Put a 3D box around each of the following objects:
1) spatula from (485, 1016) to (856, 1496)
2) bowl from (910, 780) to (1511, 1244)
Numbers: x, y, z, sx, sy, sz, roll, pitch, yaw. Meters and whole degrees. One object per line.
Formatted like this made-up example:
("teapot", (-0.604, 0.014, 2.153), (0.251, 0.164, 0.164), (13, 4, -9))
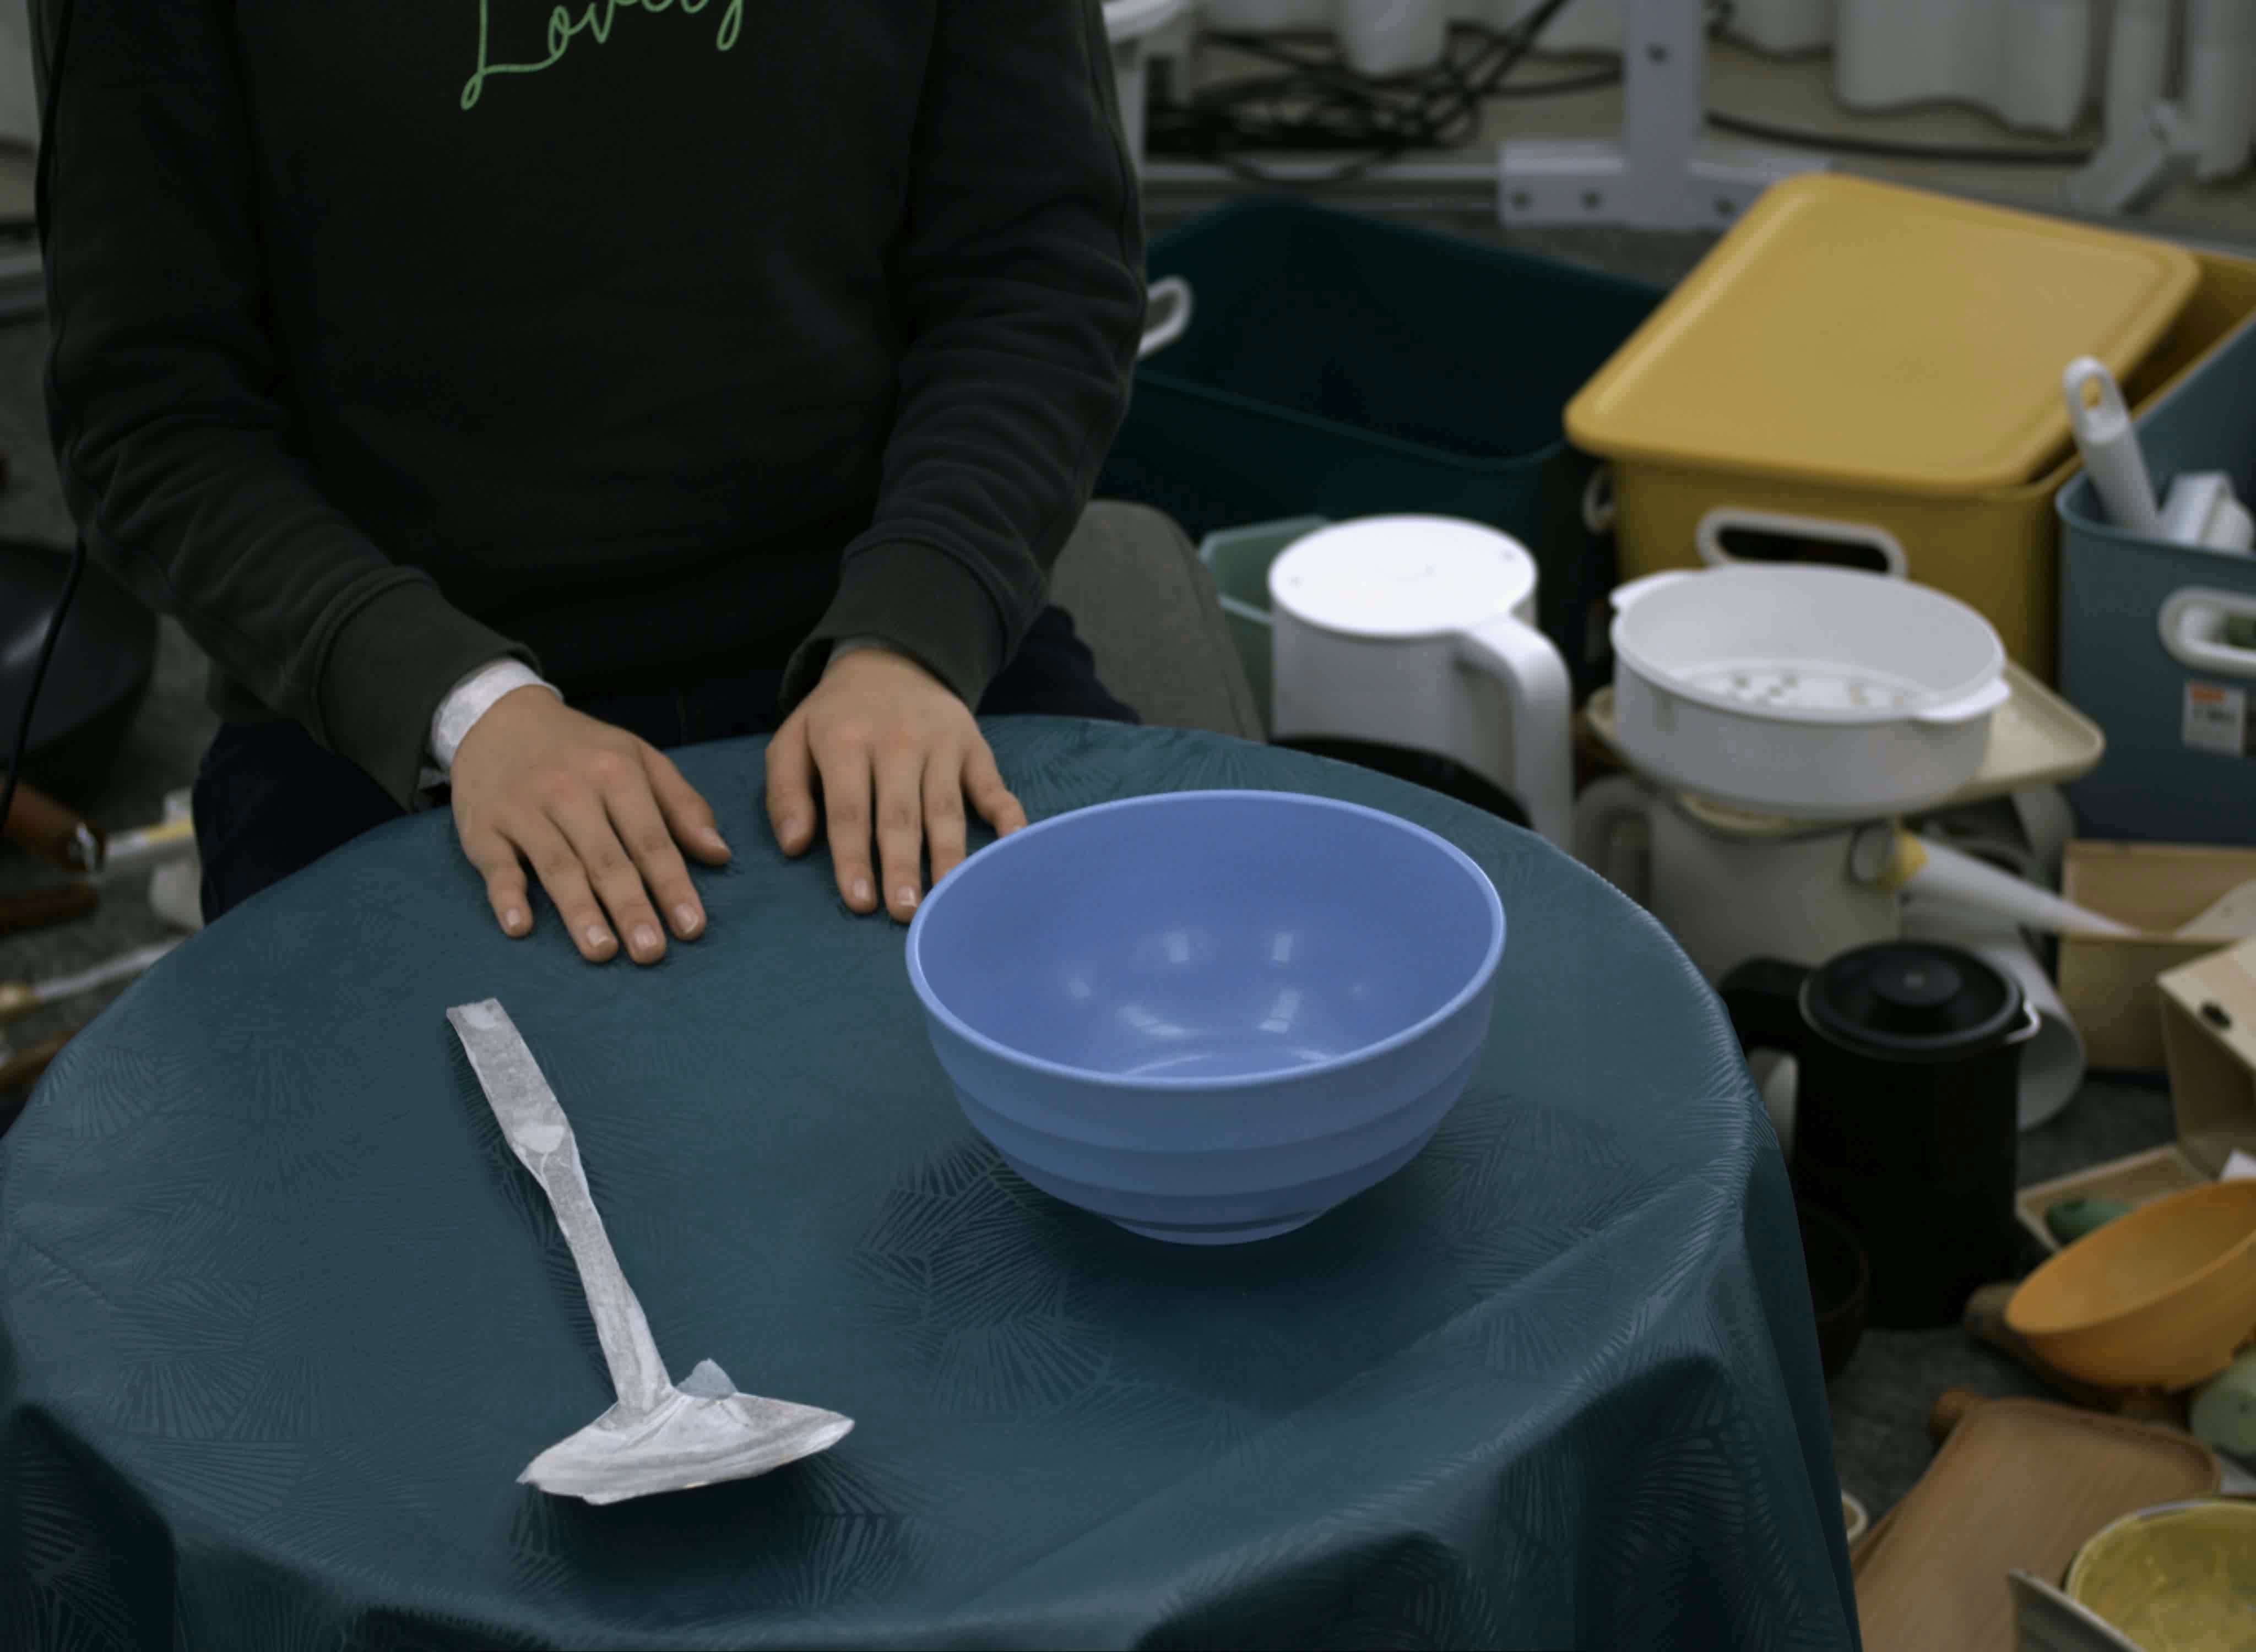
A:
("spatula", (-0.172, 0.131, 1.819), (0.099, 0.044, 0.368), (-12, 29, -12))
("bowl", (0.029, 0.073, 1.848), (0.195, 0.094, 0.199), (-2, 29, 2))
